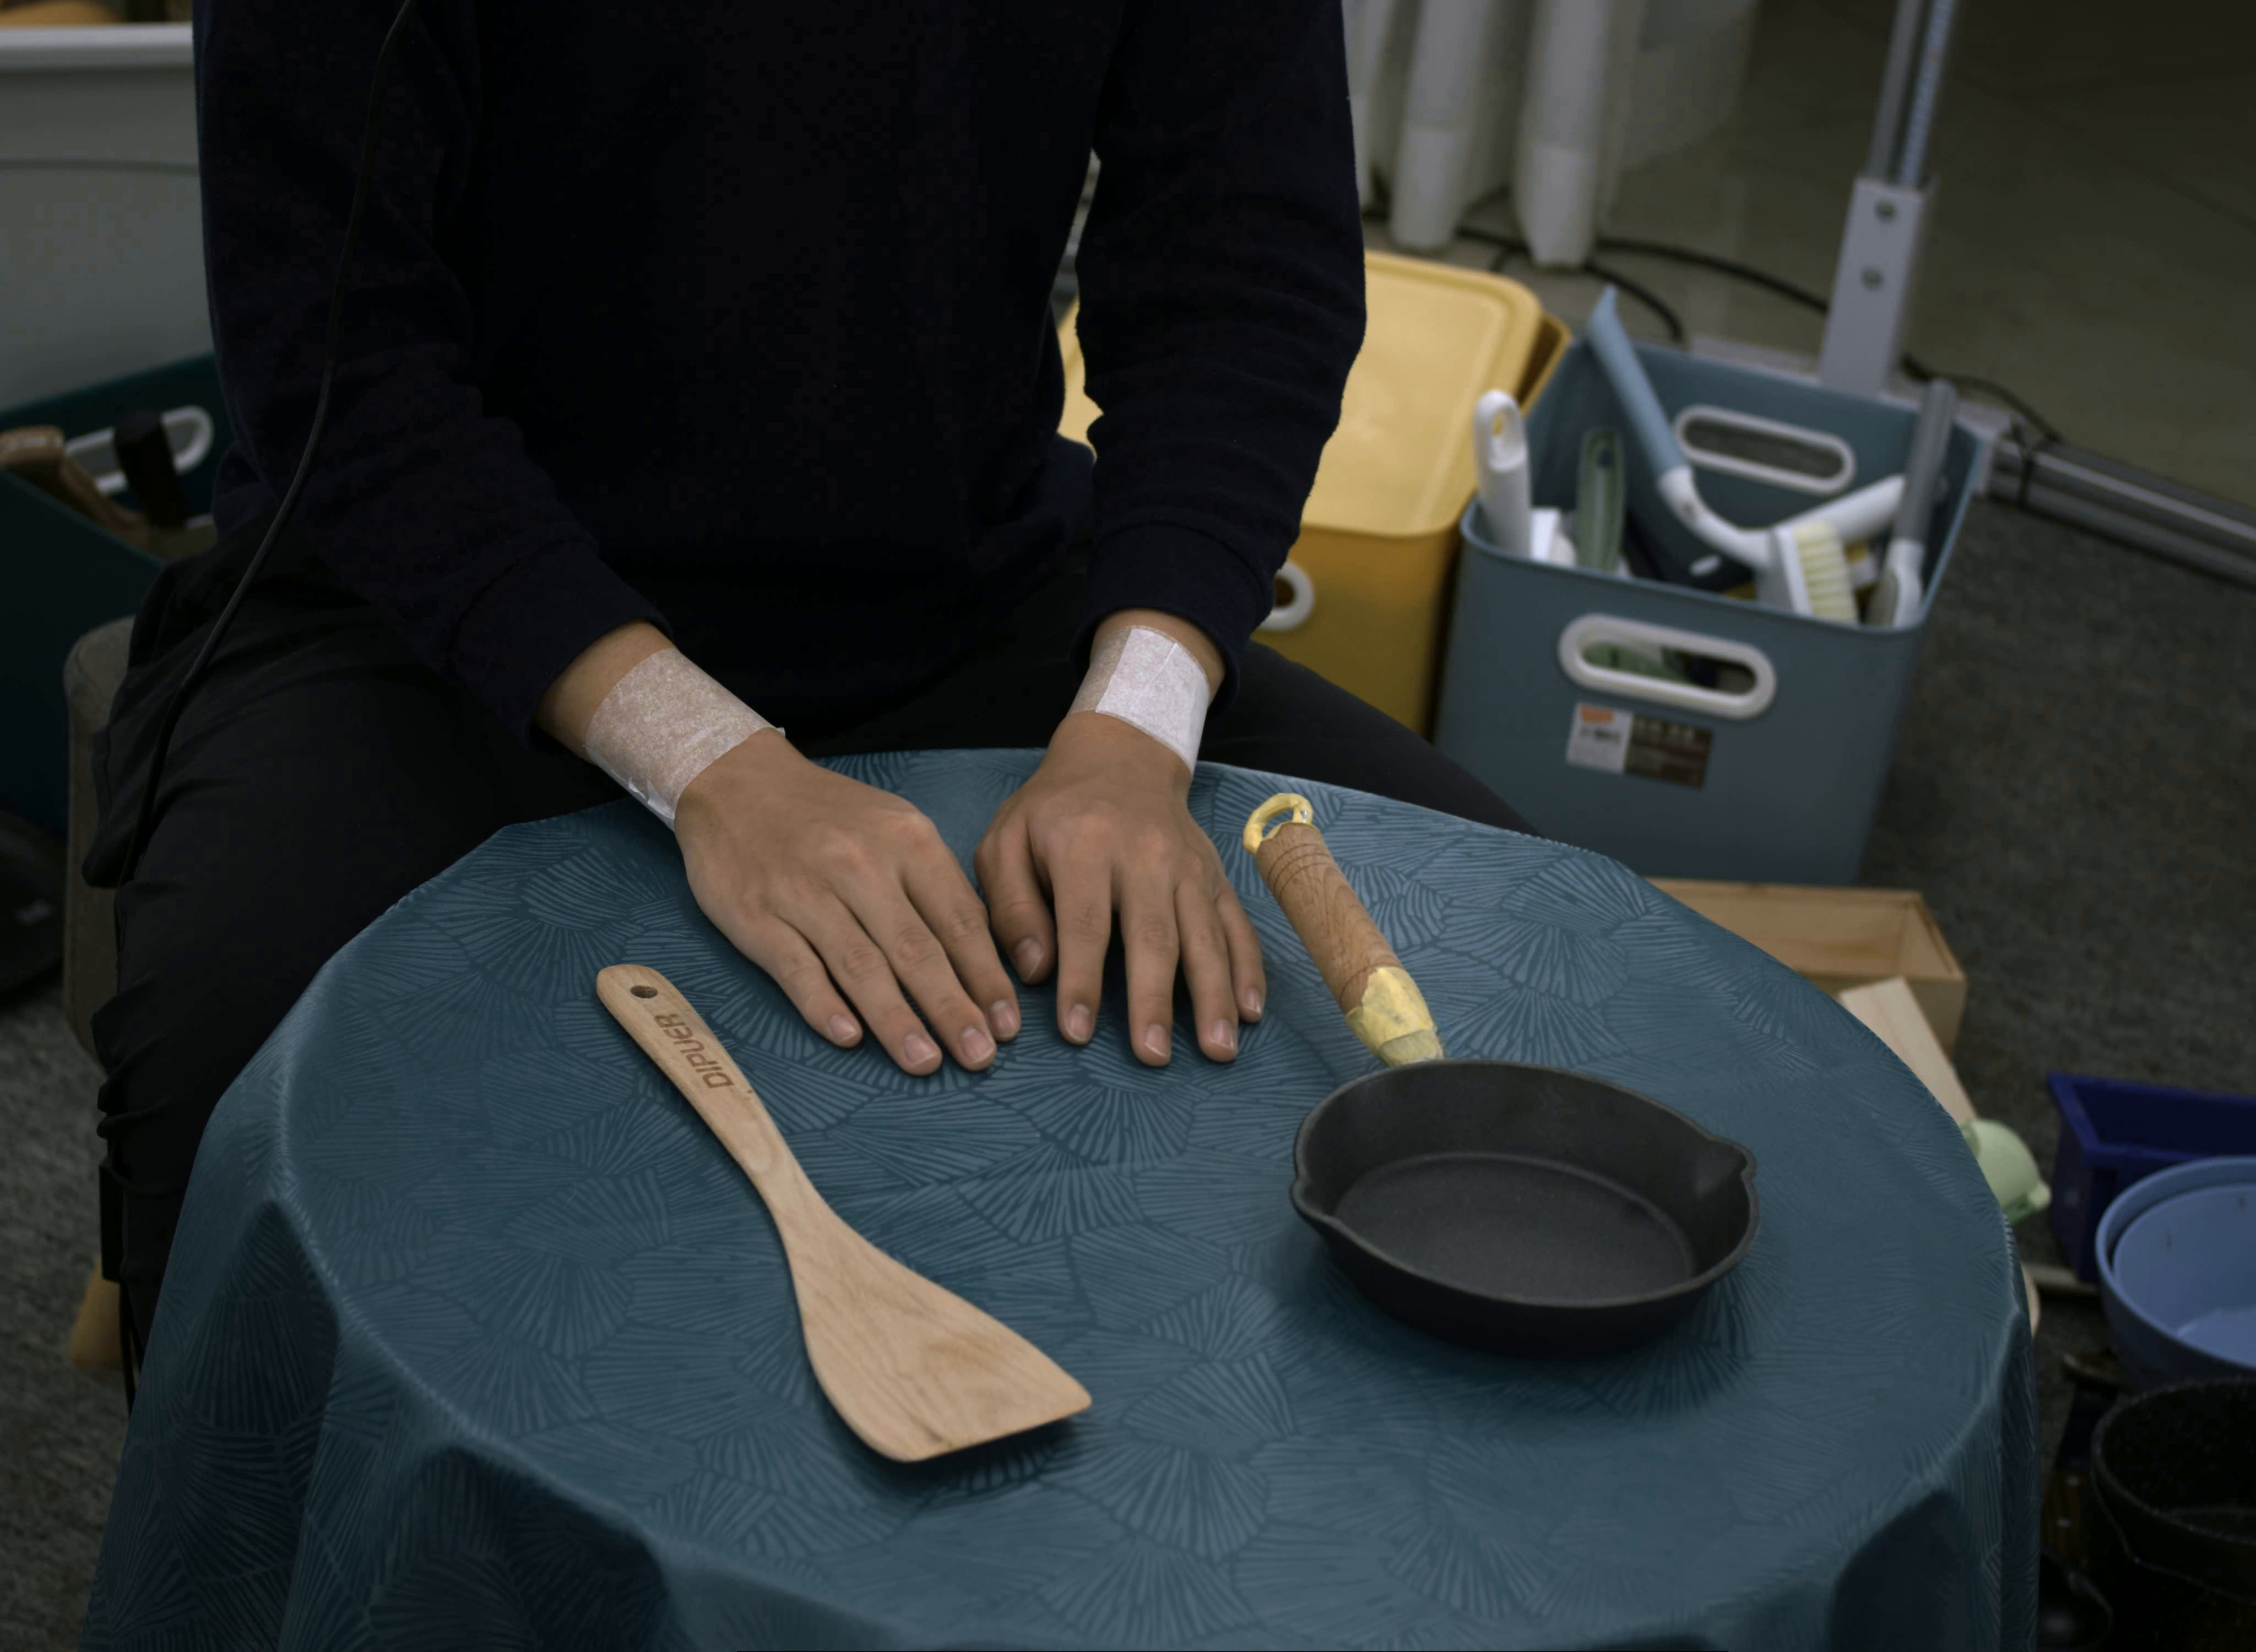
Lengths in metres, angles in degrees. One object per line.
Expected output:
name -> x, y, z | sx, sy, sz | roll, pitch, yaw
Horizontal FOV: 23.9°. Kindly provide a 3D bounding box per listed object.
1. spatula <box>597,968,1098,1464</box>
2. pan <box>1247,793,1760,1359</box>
spatula -> -0.108, 0.123, 1.763 | 0.079, 0.016, 0.330 | -7, 30, -26
pan -> 0.105, 0.084, 1.848 | 0.168, 0.049, 0.327 | -3, 30, -19
